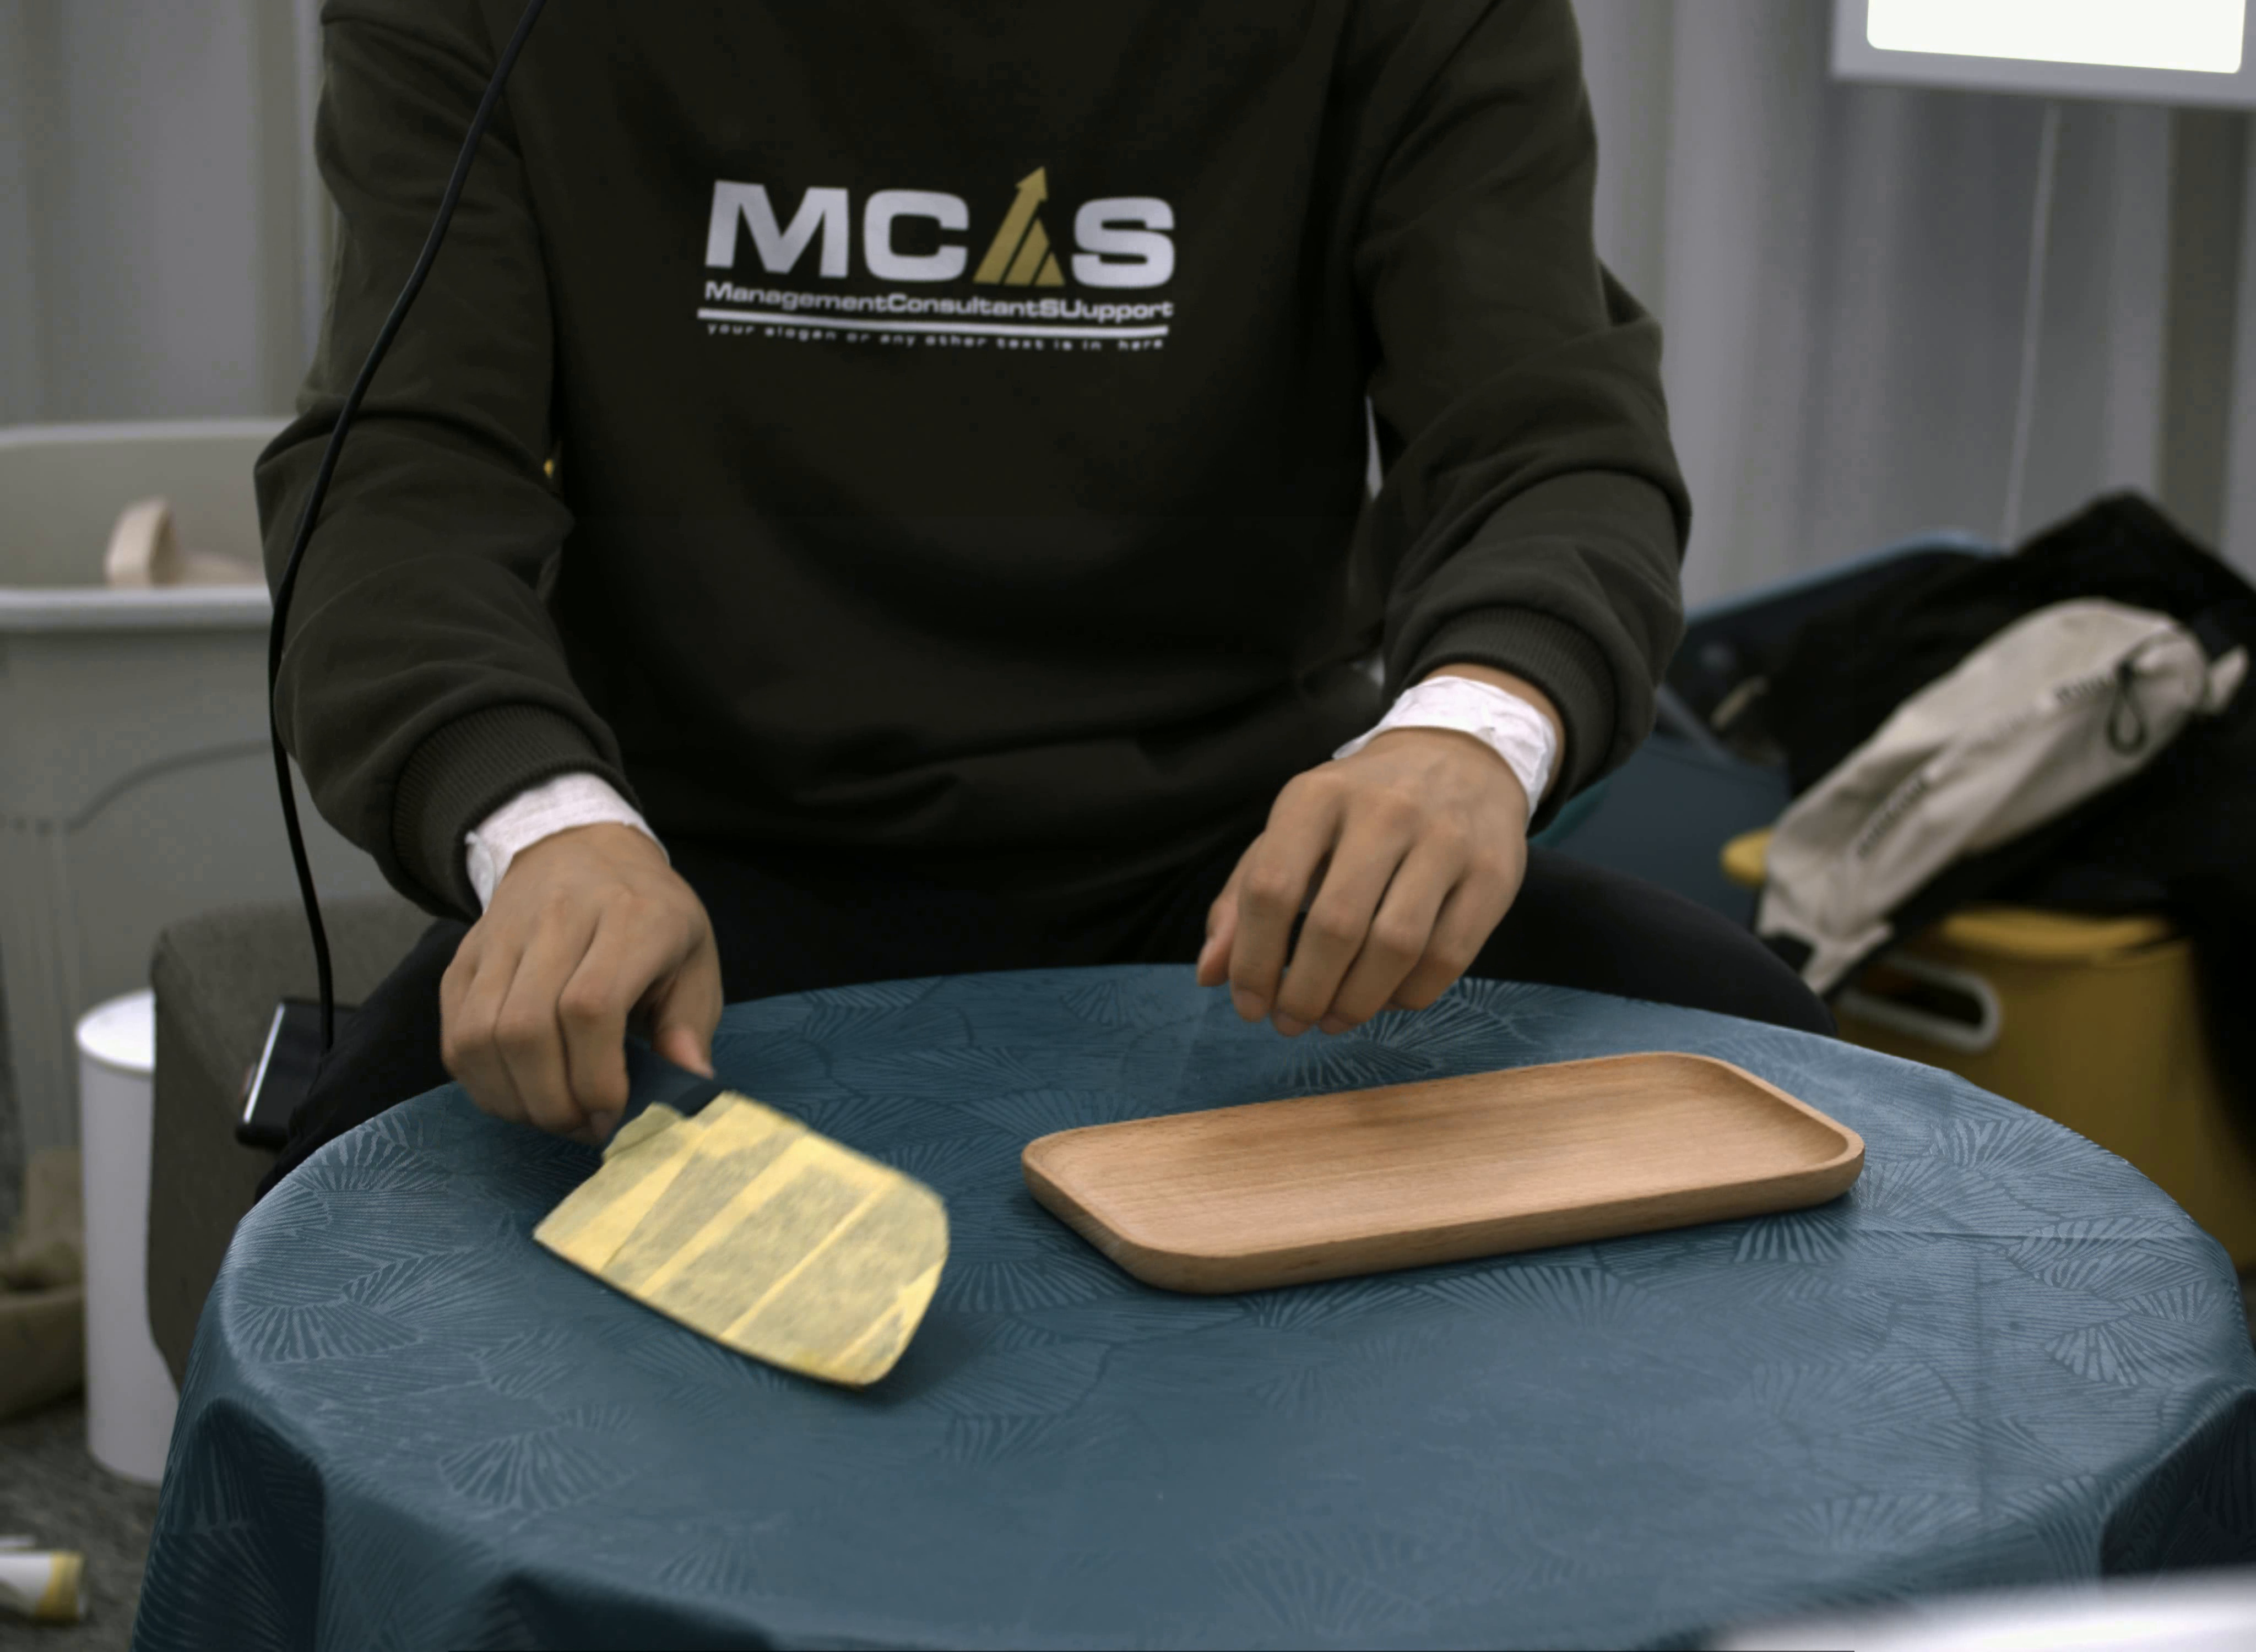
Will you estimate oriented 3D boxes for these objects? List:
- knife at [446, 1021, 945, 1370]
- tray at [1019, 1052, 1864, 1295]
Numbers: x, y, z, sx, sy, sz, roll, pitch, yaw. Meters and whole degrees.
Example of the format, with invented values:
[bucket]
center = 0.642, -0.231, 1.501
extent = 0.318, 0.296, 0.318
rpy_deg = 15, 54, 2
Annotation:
[knife]
center = -0.140, 0.108, 1.565
extent = 0.081, 0.027, 0.285
rpy_deg = -36, 30, -21
[tray]
center = 0.097, 0.106, 1.622
extent = 0.251, 0.023, 0.129
rpy_deg = -7, 14, -23
